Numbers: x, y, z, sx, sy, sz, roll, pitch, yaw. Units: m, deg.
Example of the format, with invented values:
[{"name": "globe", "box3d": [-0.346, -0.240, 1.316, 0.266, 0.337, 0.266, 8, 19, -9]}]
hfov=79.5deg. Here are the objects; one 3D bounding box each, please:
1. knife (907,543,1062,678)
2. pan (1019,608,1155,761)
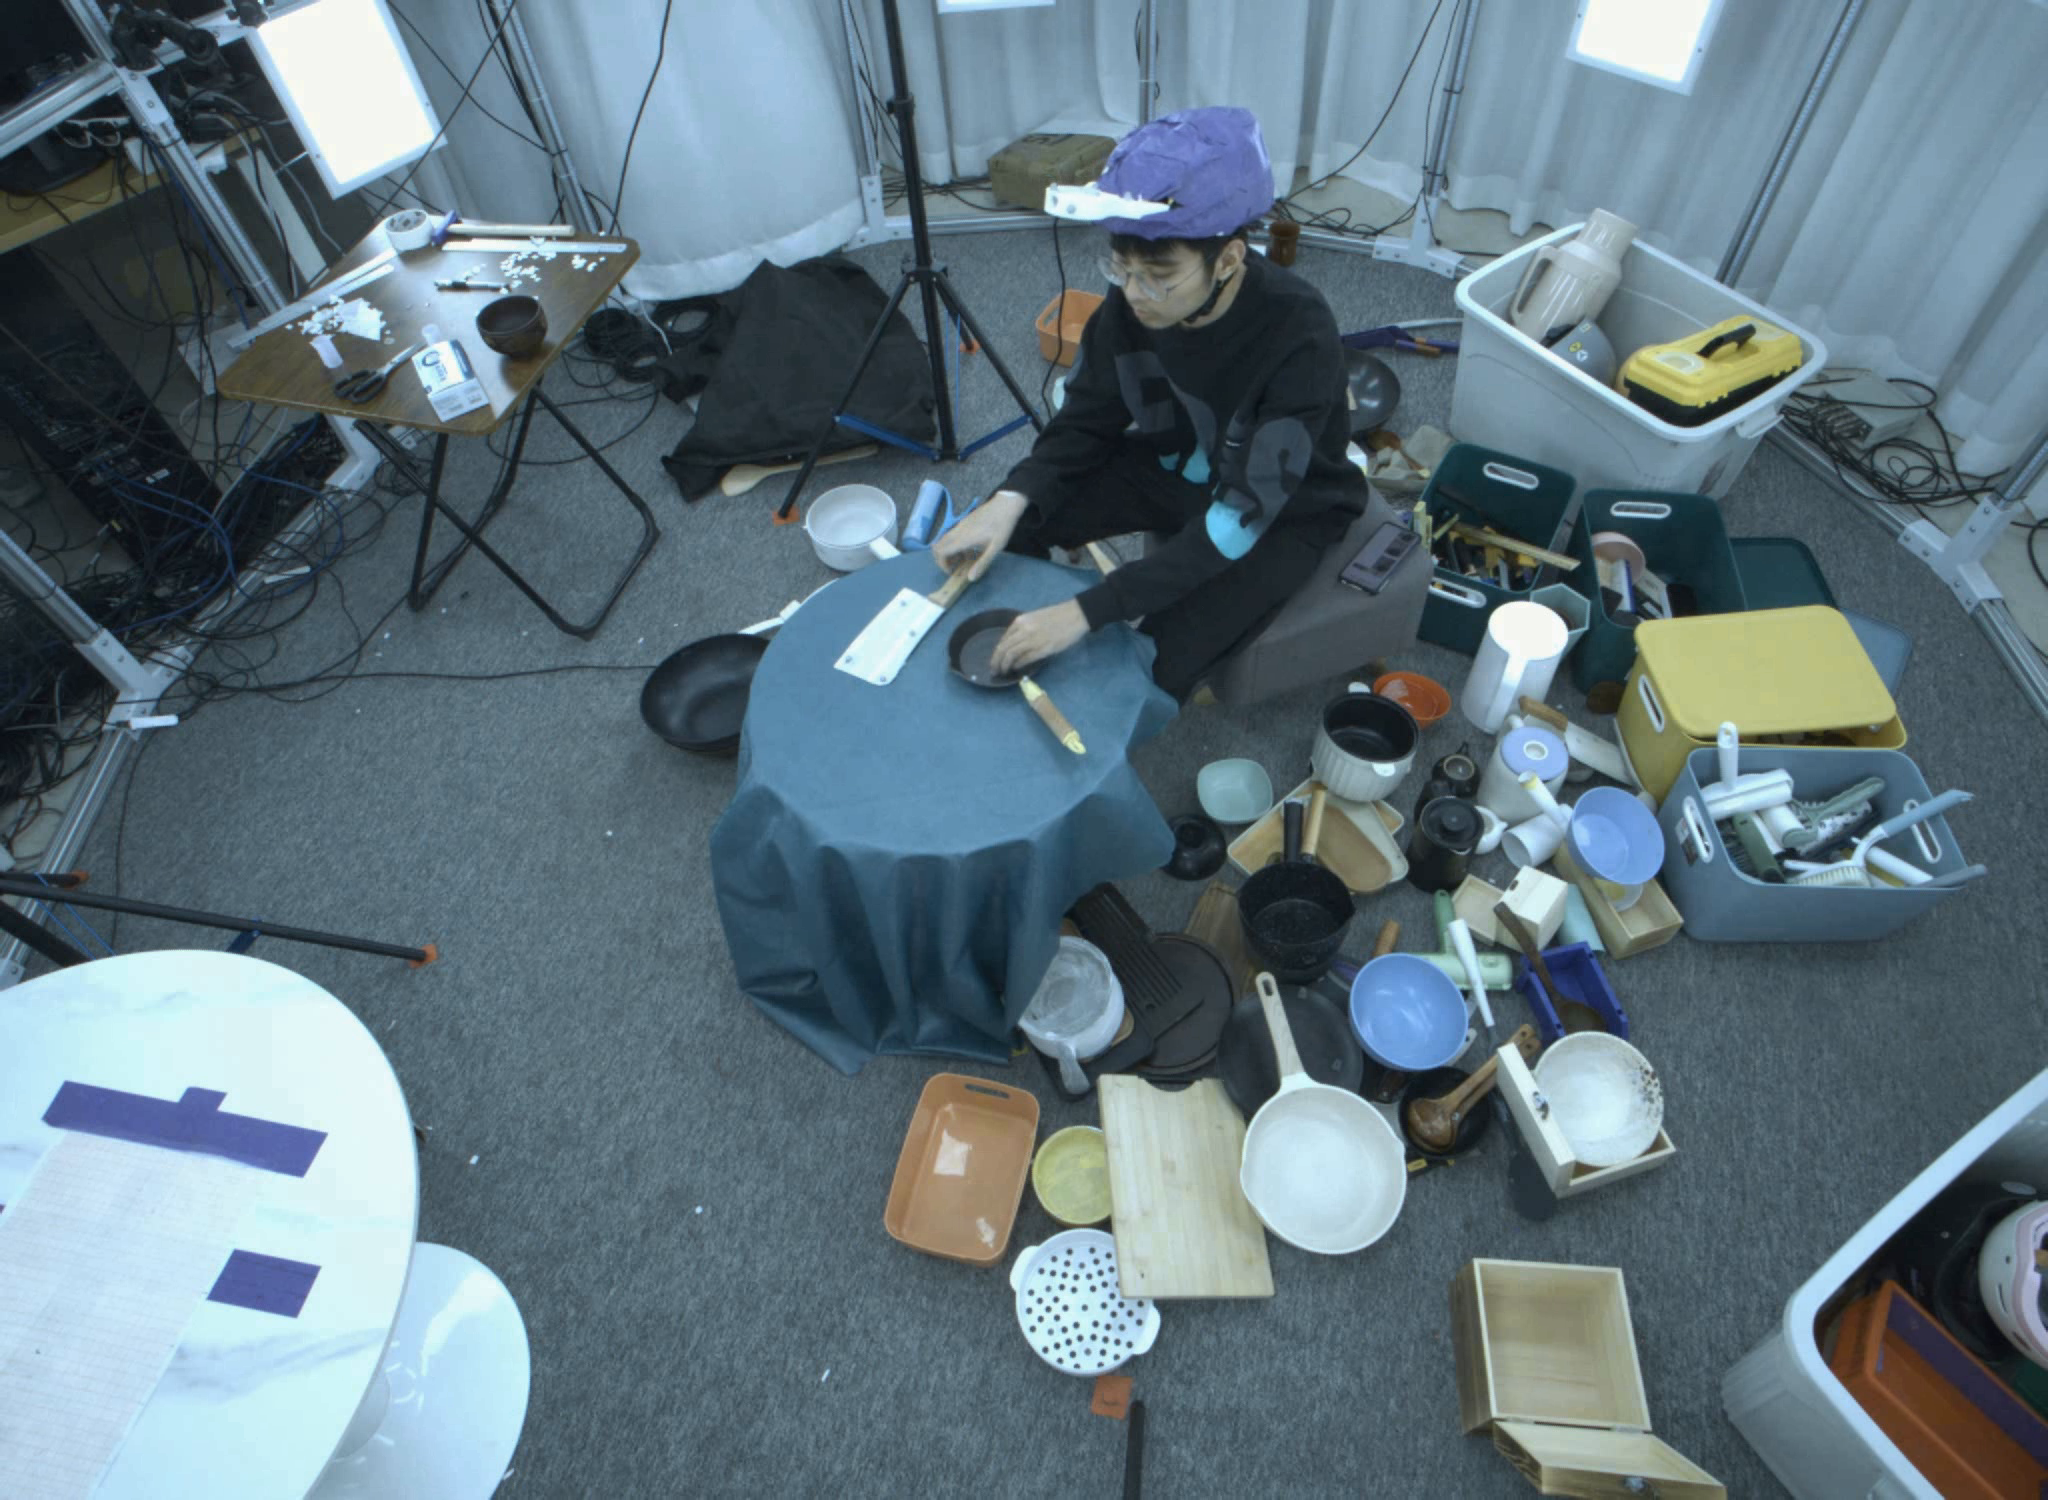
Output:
[{"name": "knife", "box3d": [-0.049, -0.224, 1.936, 0.112, 0.022, 0.317, 34, 65, 24]}, {"name": "pan", "box3d": [0.106, -0.092, 1.818, 0.170, 0.050, 0.318, -22, 56, -14]}]
